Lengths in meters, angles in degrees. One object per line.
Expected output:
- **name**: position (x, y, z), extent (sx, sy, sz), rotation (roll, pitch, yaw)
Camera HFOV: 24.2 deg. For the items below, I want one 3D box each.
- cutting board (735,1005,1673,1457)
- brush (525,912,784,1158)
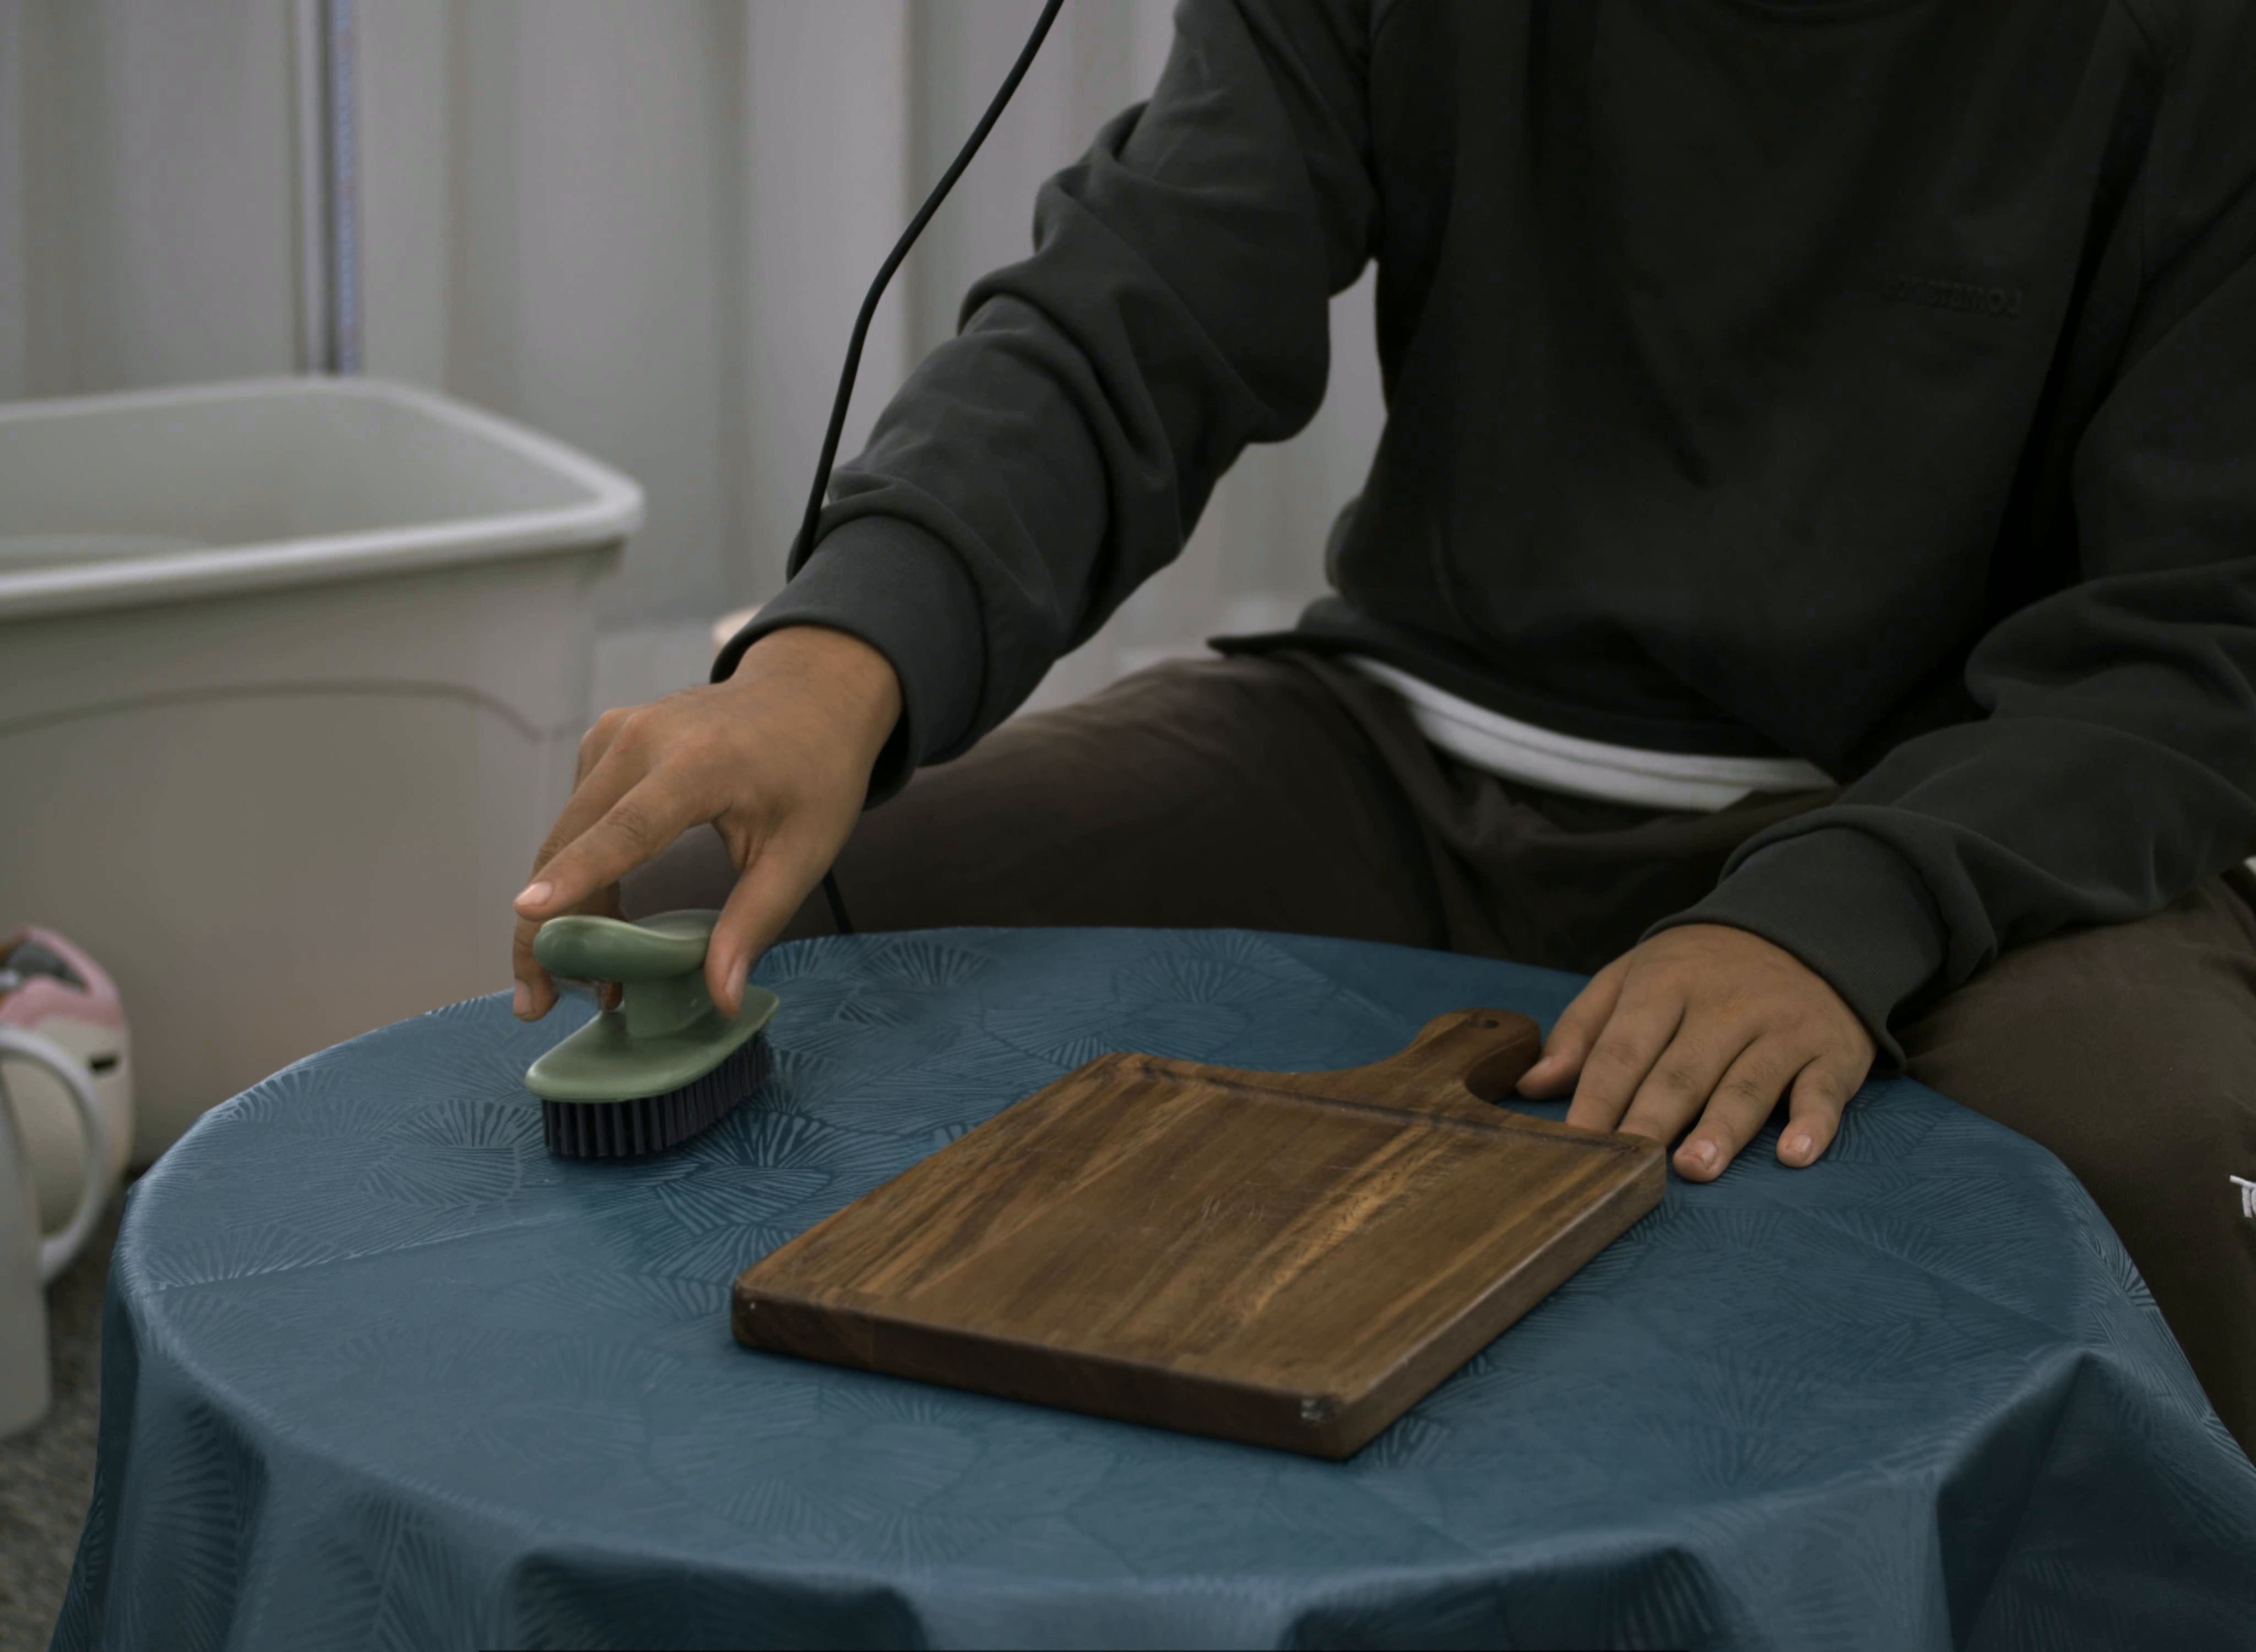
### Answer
- **cutting board**: position (0.050, 0.110, 1.599), extent (0.199, 0.023, 0.353), rotation (8, 17, 25)
- **brush**: position (-0.152, 0.065, 1.682), extent (0.059, 0.076, 0.123), rotation (2, 2, 18)
